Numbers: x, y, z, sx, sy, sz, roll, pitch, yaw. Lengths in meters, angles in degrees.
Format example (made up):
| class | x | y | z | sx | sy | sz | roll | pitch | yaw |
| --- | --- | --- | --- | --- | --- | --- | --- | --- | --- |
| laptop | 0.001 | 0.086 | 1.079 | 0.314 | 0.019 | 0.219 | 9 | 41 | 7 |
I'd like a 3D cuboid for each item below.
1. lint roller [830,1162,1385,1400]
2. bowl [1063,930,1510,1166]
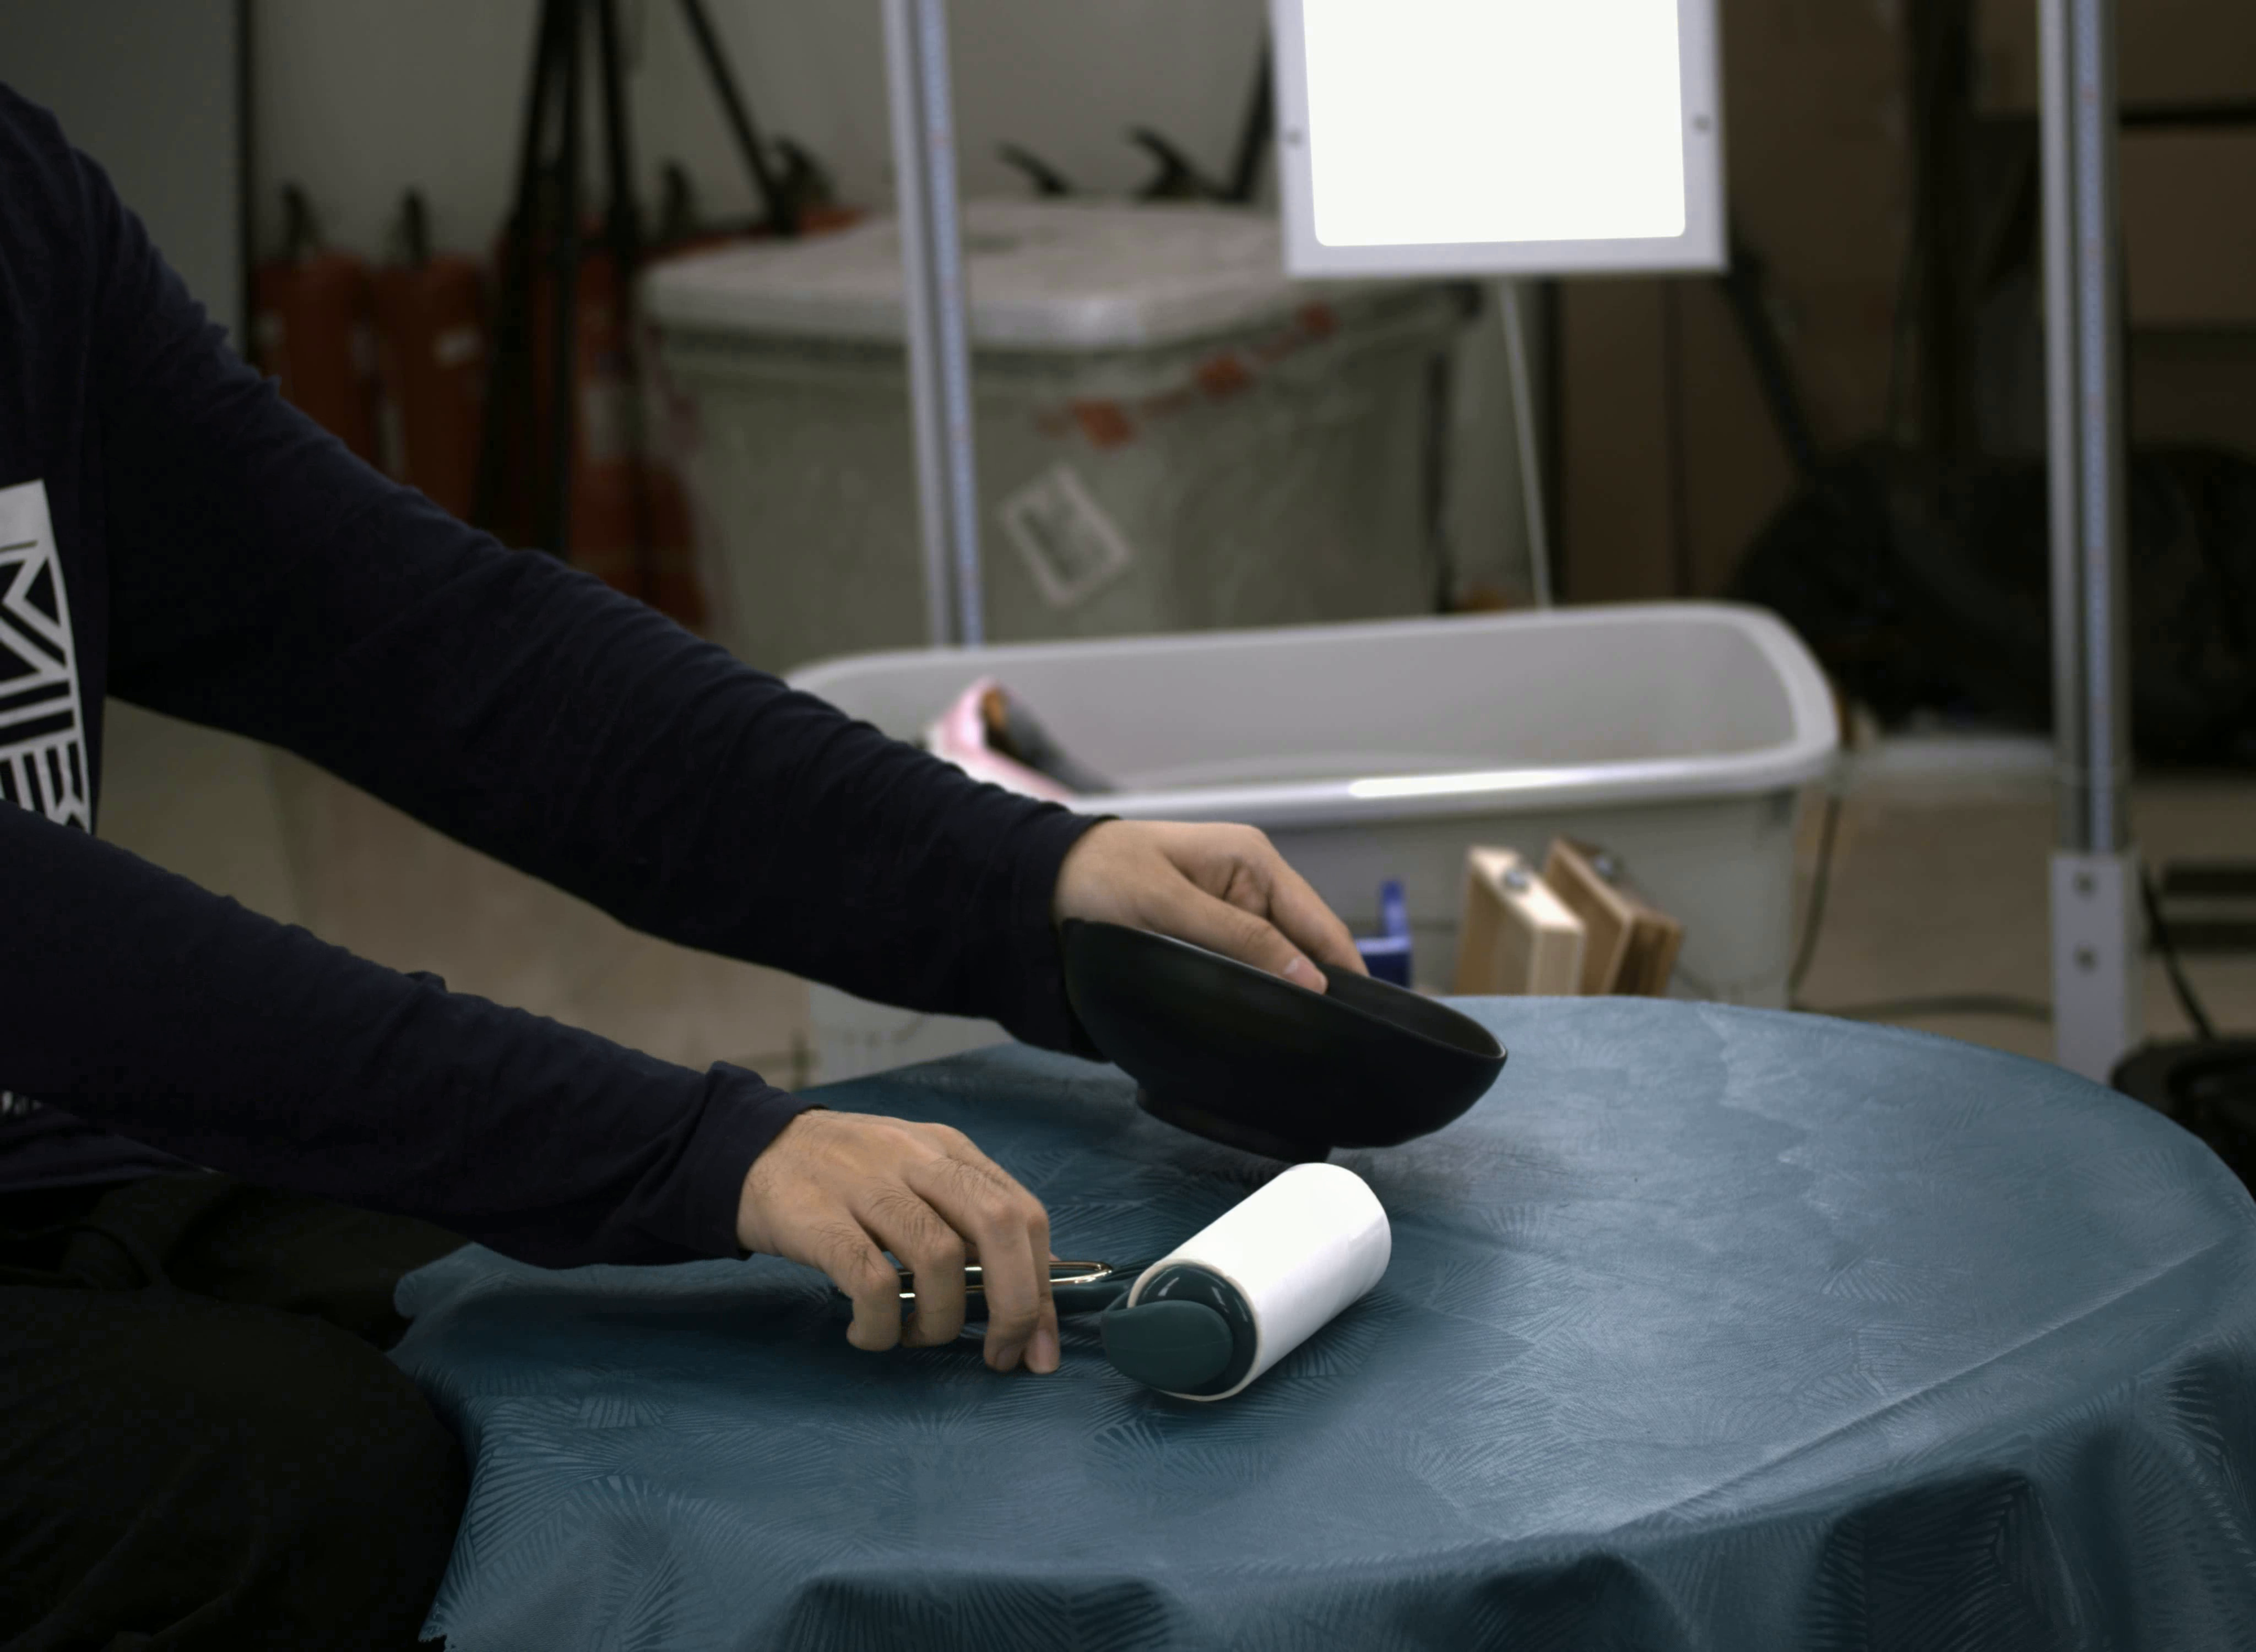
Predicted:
| class | x | y | z | sx | sy | sz | roll | pitch | yaw |
| --- | --- | --- | --- | --- | --- | --- | --- | --- | --- |
| lint roller | -0.018 | 0.143 | 1.757 | 0.183 | 0.048 | 0.131 | -1 | 14 | 29 |
| bowl | 0.047 | 0.078 | 1.900 | 0.173 | 0.067 | 0.134 | 17 | 3 | 32 |
